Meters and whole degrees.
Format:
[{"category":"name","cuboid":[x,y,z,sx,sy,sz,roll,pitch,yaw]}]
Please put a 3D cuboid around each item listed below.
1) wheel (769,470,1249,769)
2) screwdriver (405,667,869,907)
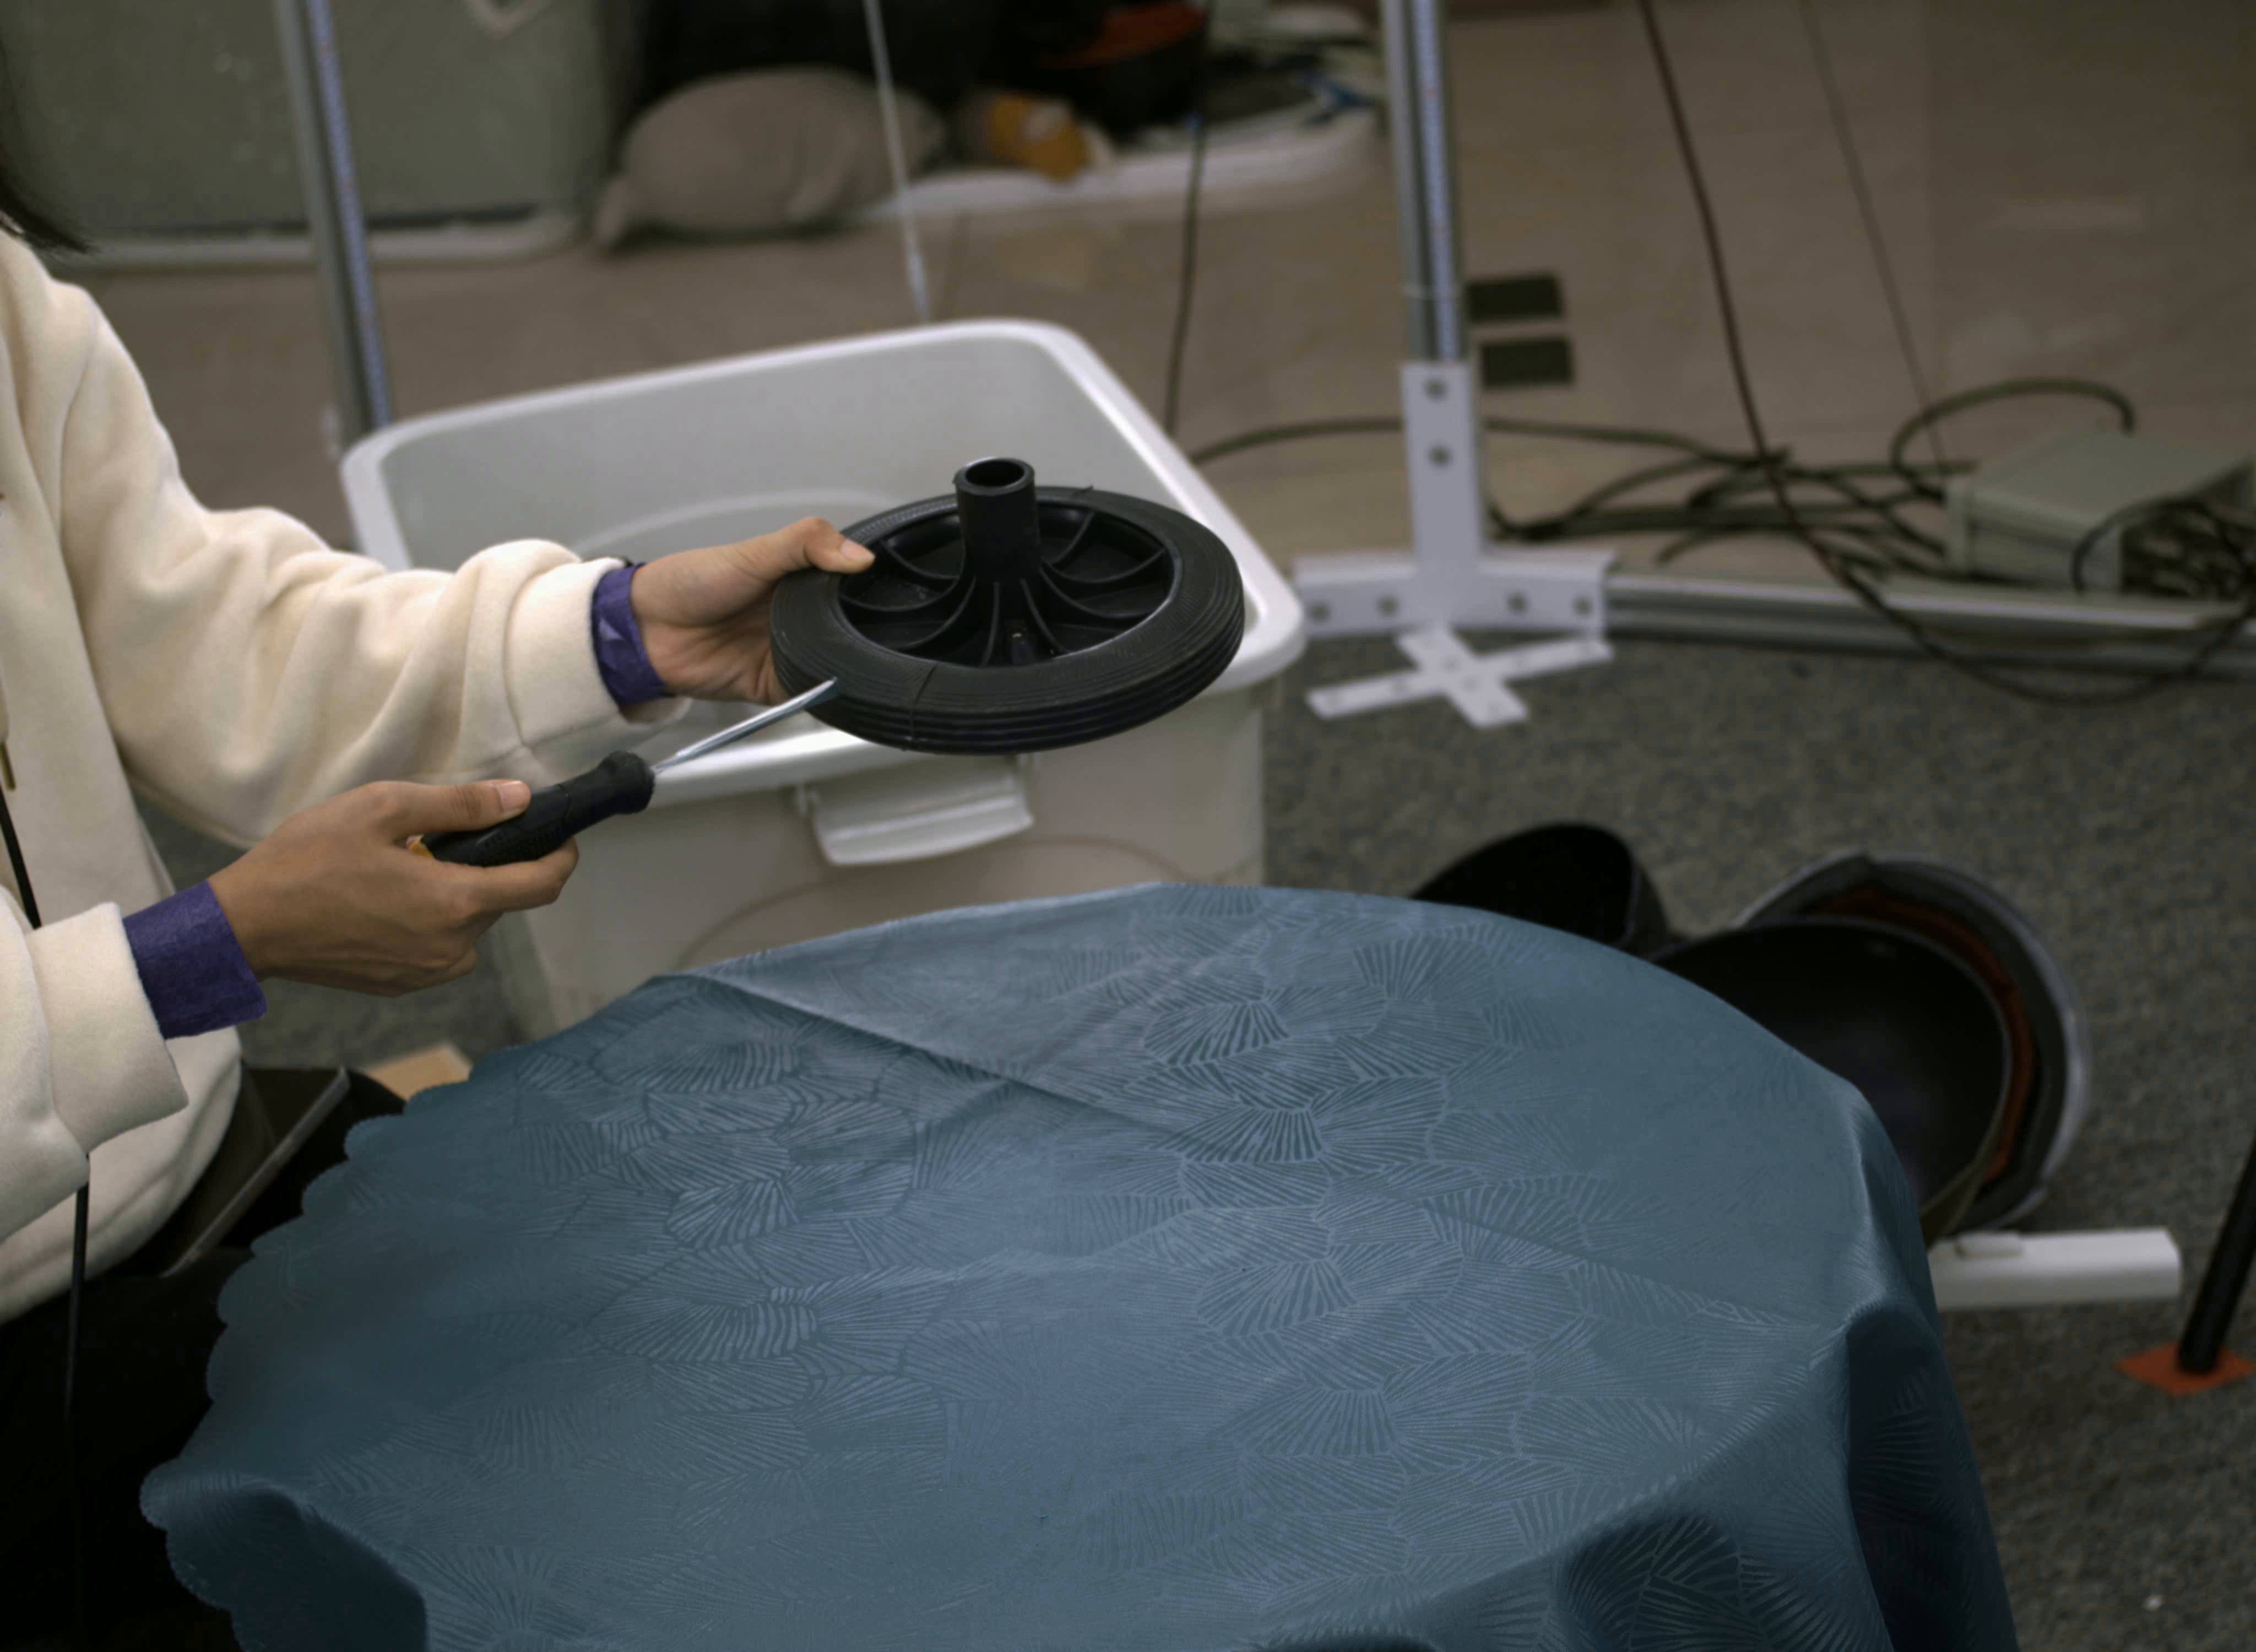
[{"category":"wheel","cuboid":[-0.048,-0.097,2.212,0.186,0.080,0.187,-21,38,-26]},{"category":"screwdriver","cuboid":[-0.182,-0.016,2.126,0.196,0.032,0.031,-23,30,-23]}]
